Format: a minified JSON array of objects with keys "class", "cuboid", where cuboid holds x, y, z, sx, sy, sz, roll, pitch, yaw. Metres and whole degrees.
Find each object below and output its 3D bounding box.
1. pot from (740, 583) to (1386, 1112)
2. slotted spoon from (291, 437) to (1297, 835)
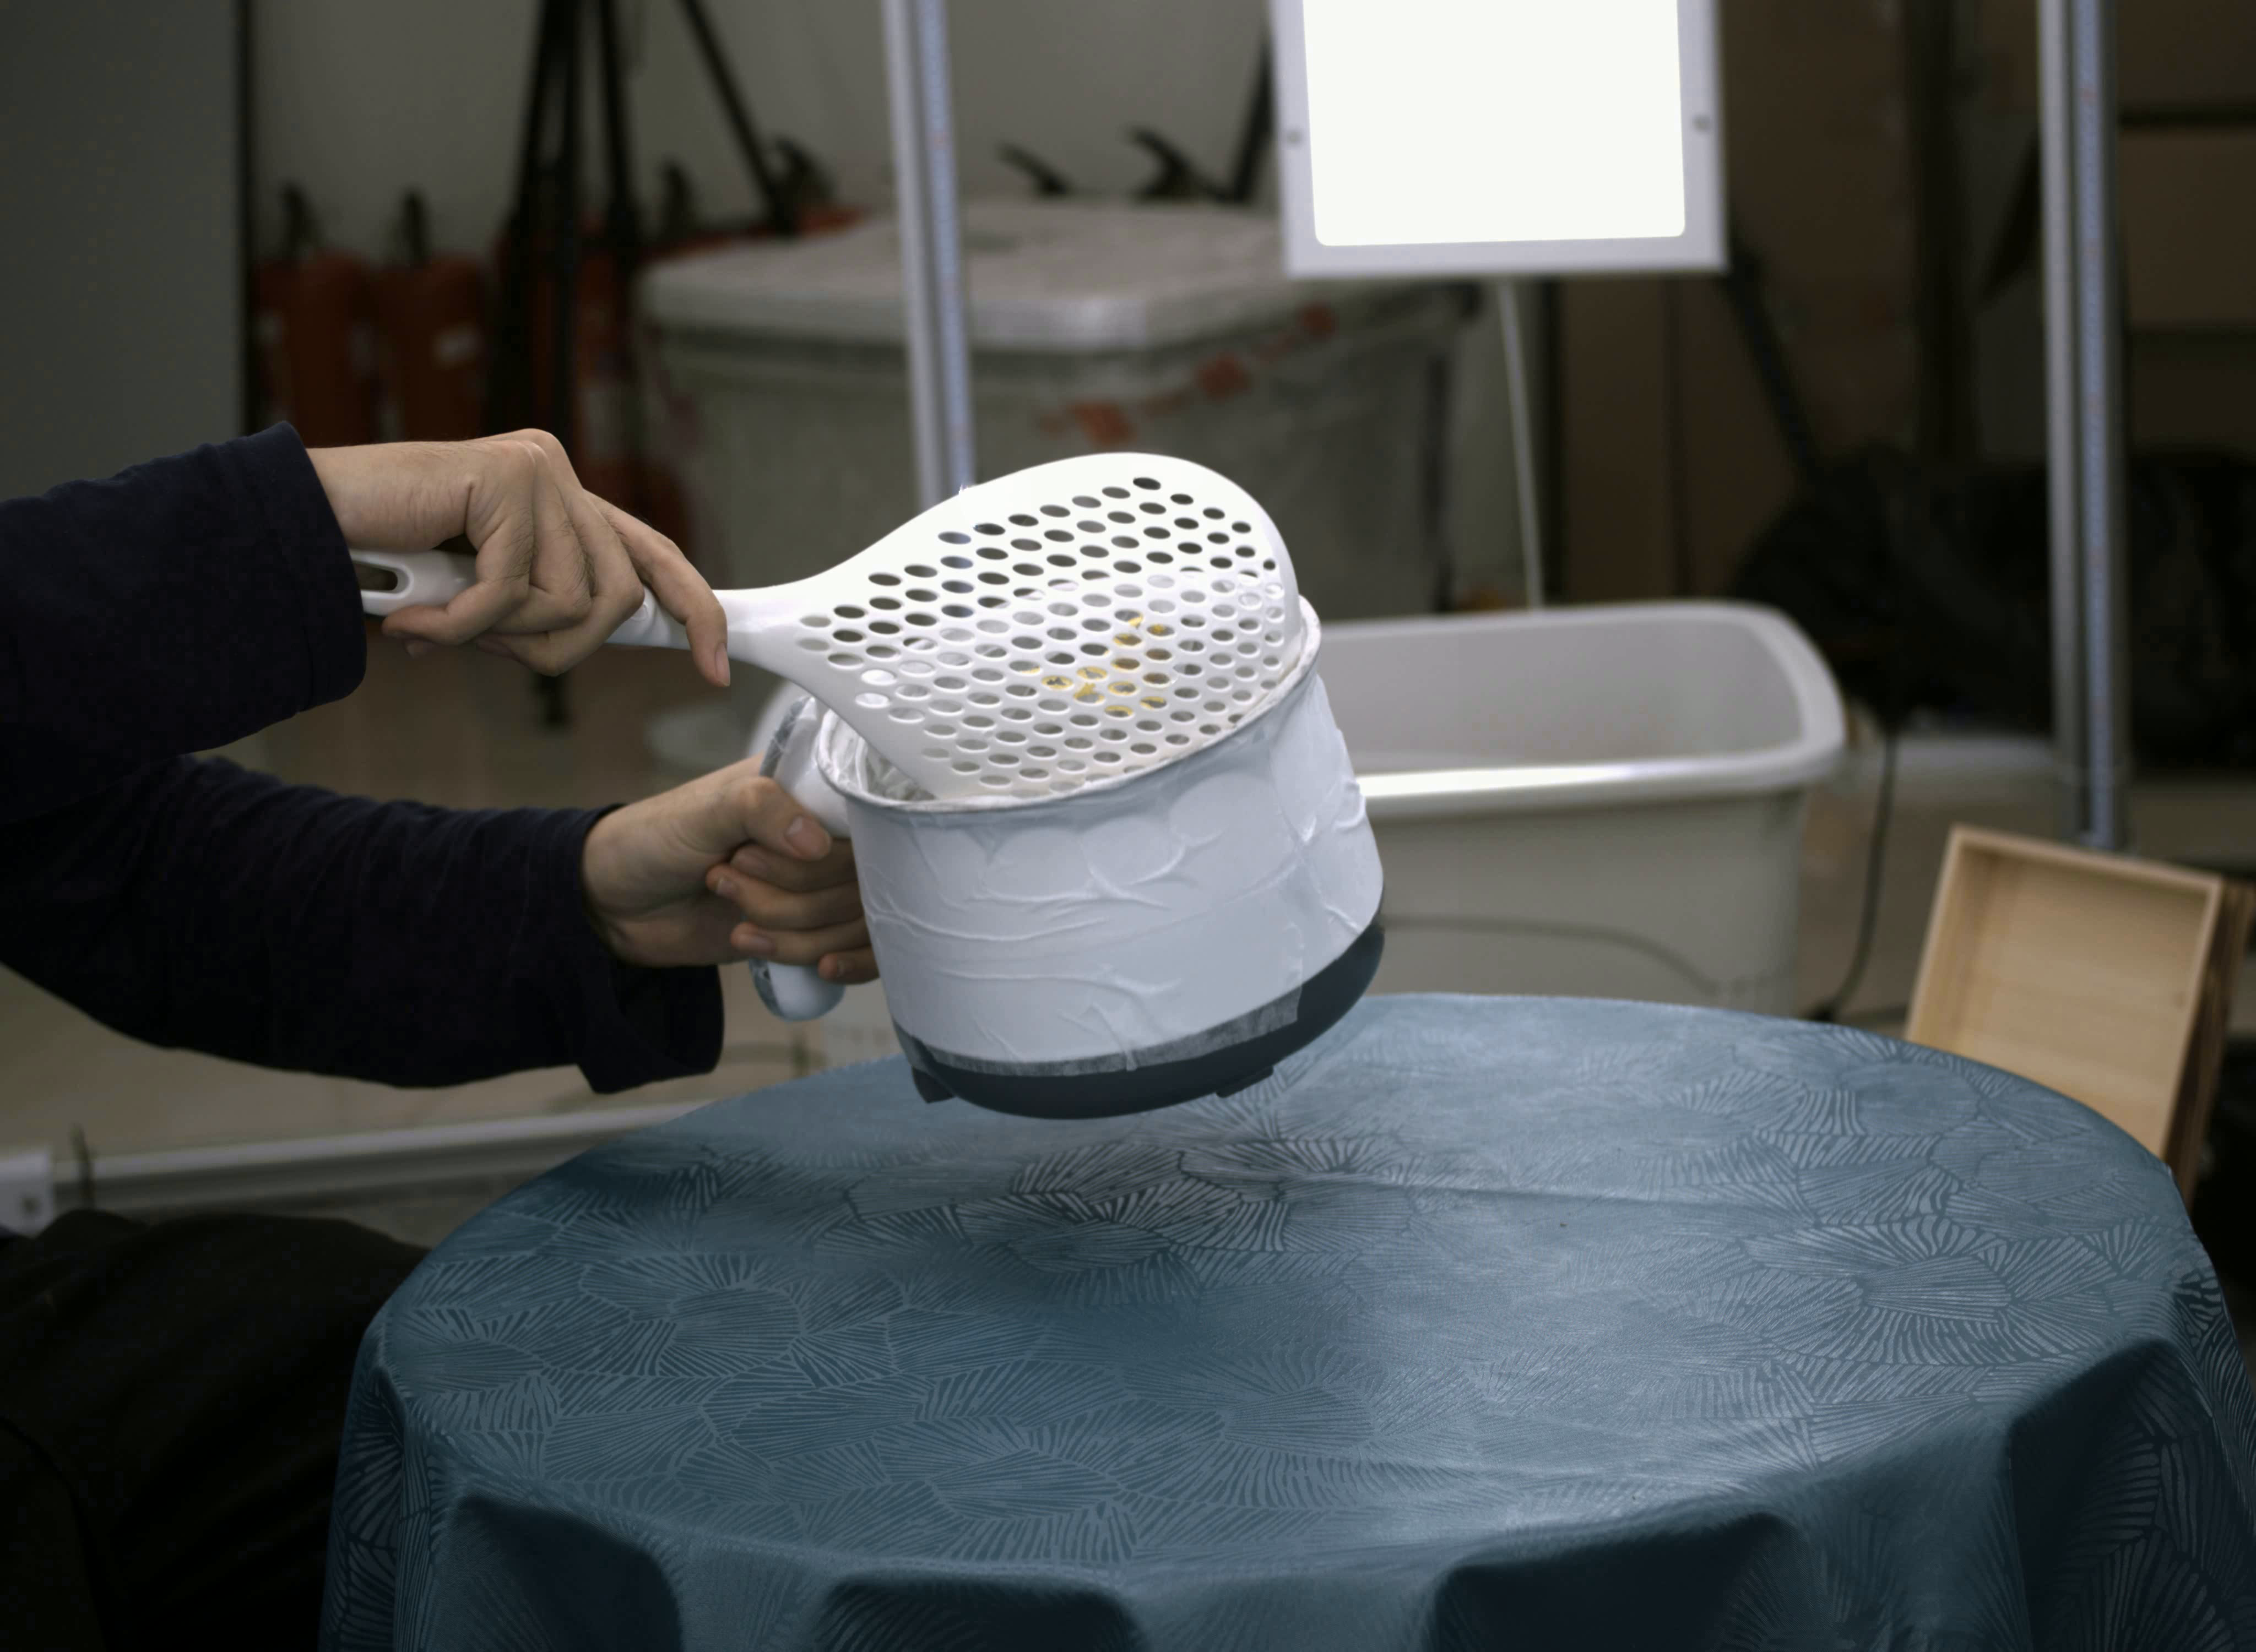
[{"class":"pot","cuboid":[-0.031,0.010,1.893,0.237,0.137,0.176,-5,23,22]},{"class":"slotted spoon","cuboid":[-0.101,-0.067,1.770,0.342,0.137,0.051,5,6,-16]}]
